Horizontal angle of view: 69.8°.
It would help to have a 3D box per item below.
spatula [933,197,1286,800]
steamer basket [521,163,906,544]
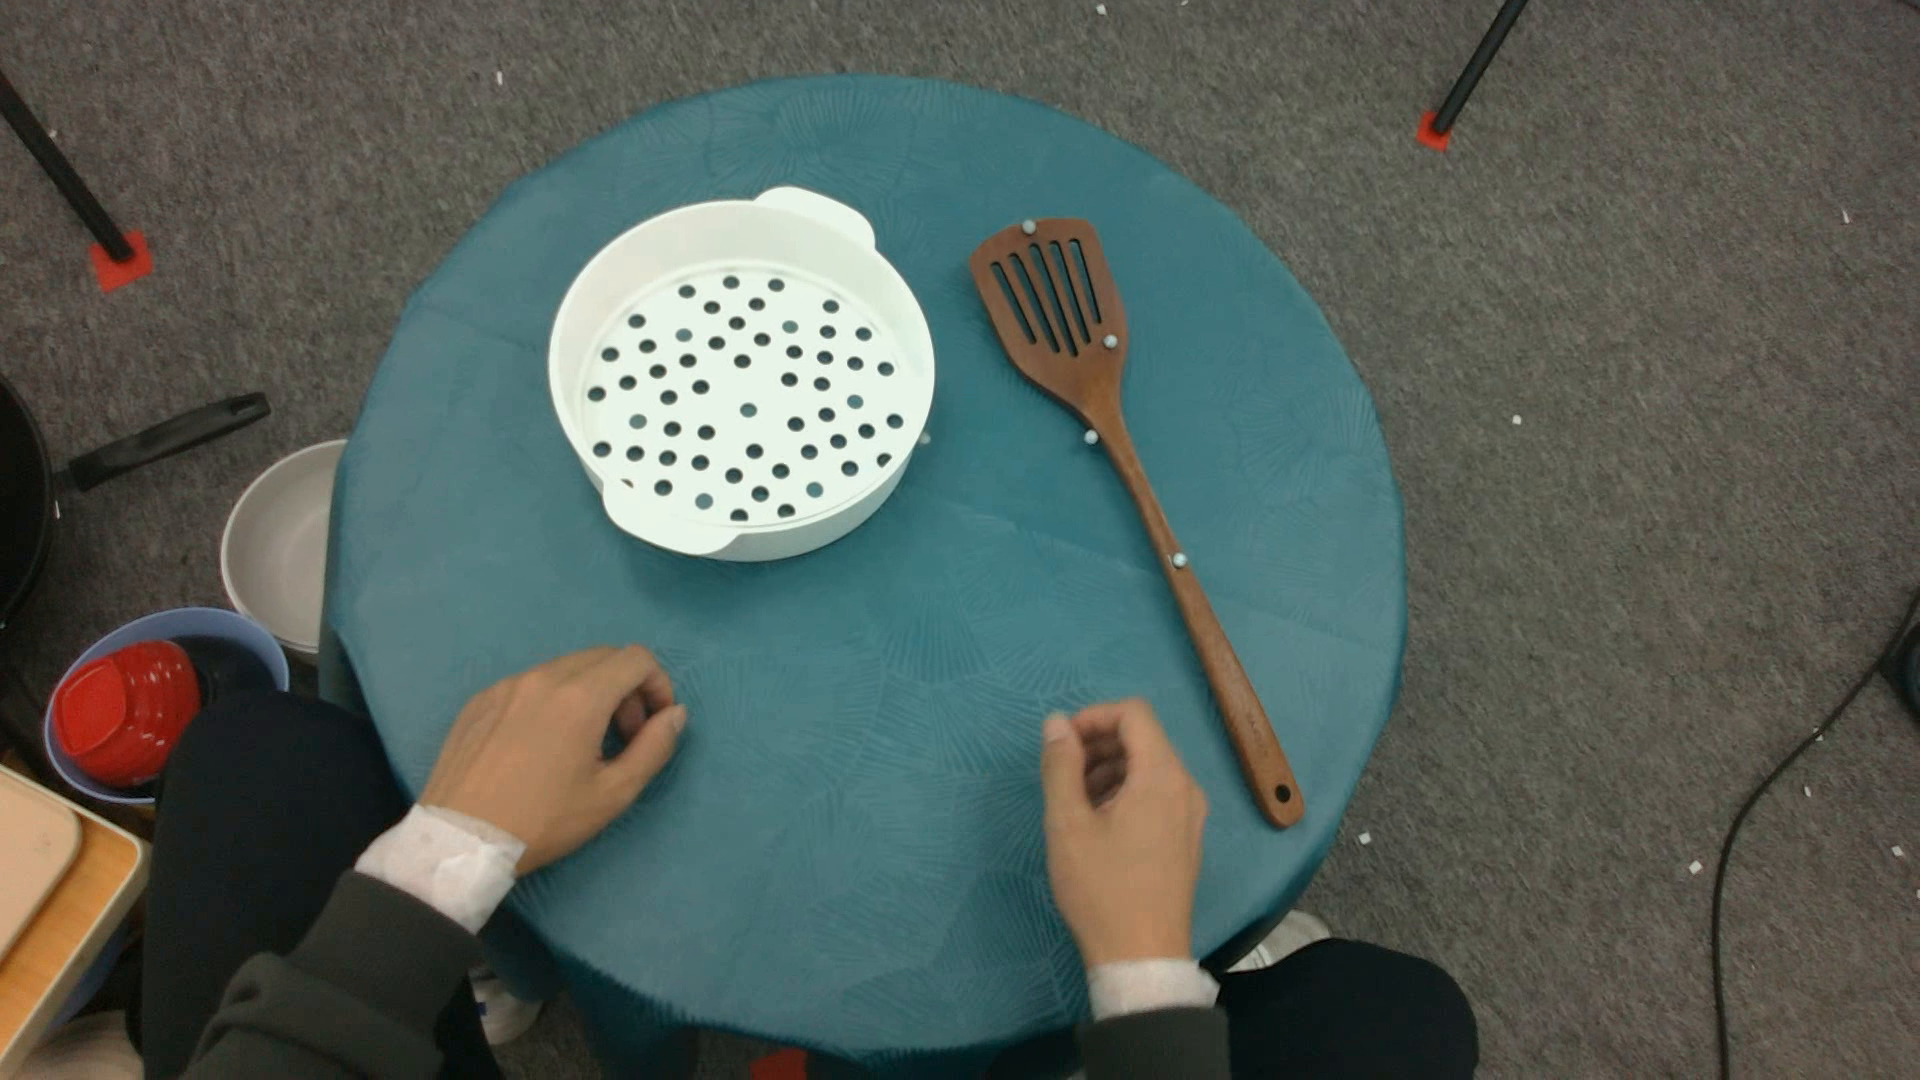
[{"bbox_3d":[0.093,-0.031,0.790,0.086,0.023,0.386,-20,73,-14],"label":"spatula"},{"bbox_3d":[-0.132,-0.096,0.758,0.202,0.069,0.231,19,69,1],"label":"steamer basket"}]
